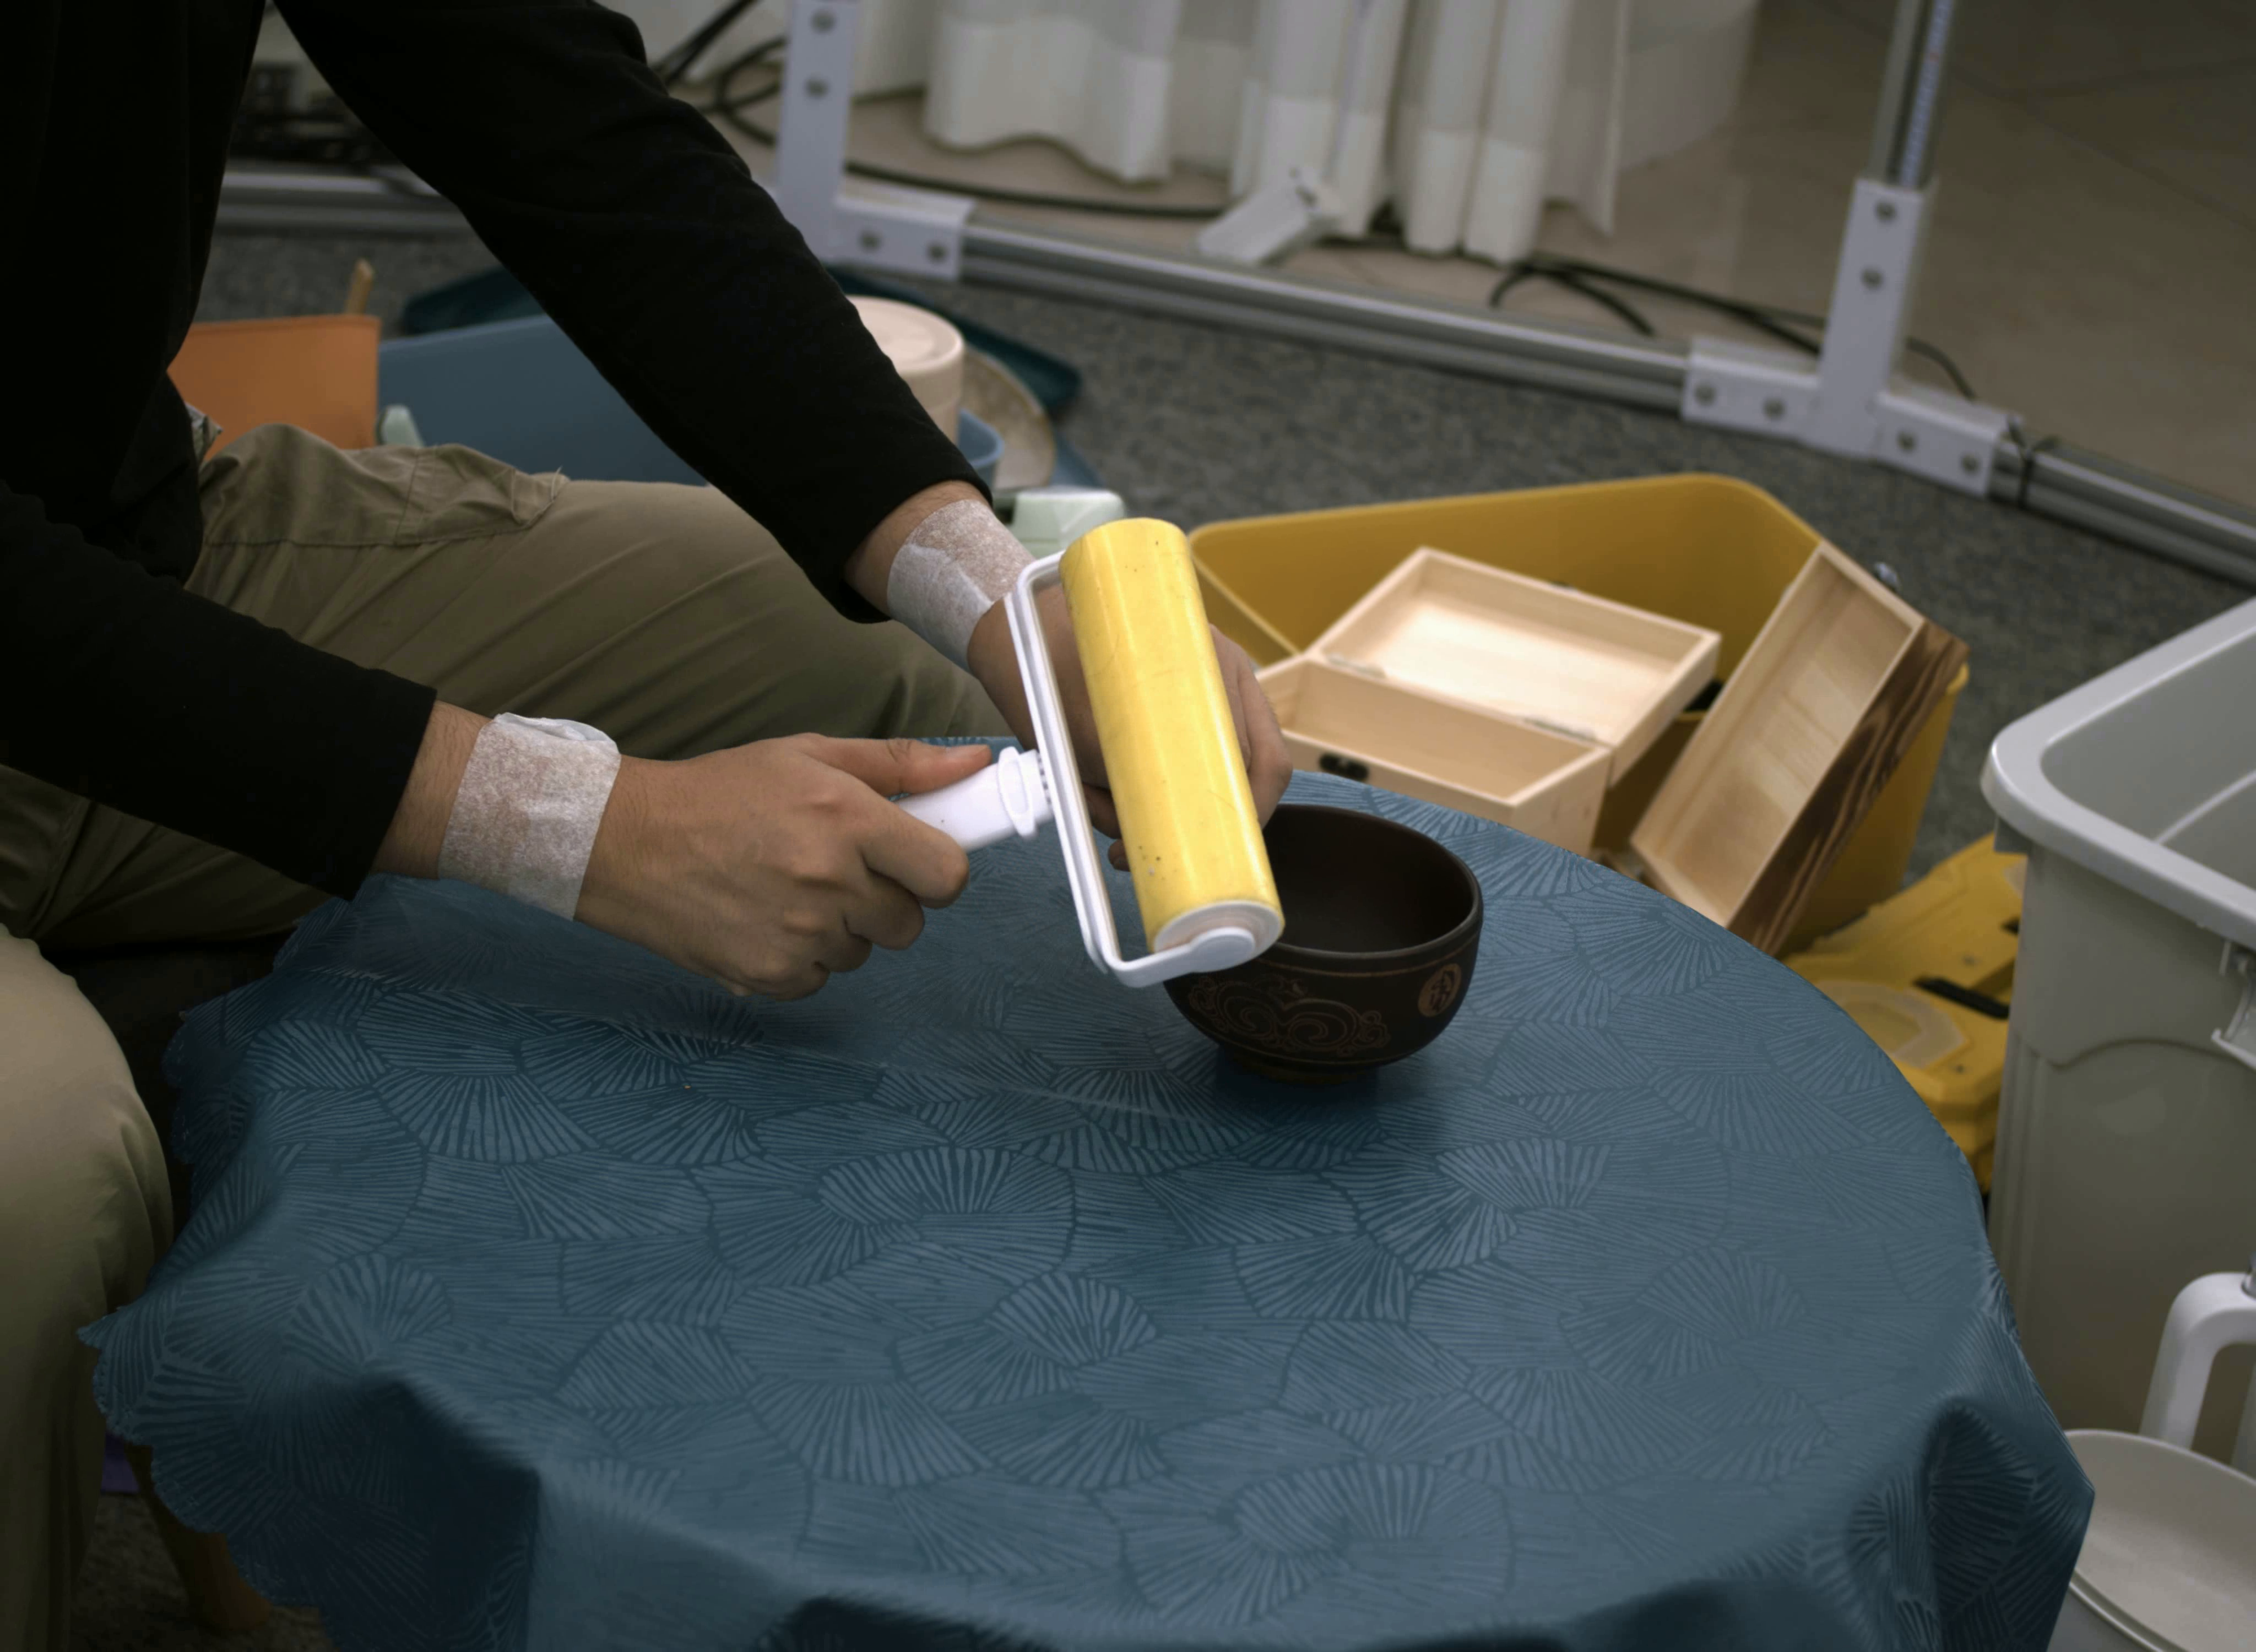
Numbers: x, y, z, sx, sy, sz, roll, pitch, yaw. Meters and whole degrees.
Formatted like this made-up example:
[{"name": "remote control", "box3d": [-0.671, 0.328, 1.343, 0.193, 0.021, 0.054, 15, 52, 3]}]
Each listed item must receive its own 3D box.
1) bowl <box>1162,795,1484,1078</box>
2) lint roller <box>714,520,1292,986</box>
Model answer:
[{"name": "bowl", "box3d": [0.064, 0.046, 1.887, 0.117, 0.069, 0.119, 6, 26, -3]}, {"name": "lint roller", "box3d": [-0.054, -0.008, 1.845, 0.191, 0.051, 0.176, -15, 58, 0]}]
